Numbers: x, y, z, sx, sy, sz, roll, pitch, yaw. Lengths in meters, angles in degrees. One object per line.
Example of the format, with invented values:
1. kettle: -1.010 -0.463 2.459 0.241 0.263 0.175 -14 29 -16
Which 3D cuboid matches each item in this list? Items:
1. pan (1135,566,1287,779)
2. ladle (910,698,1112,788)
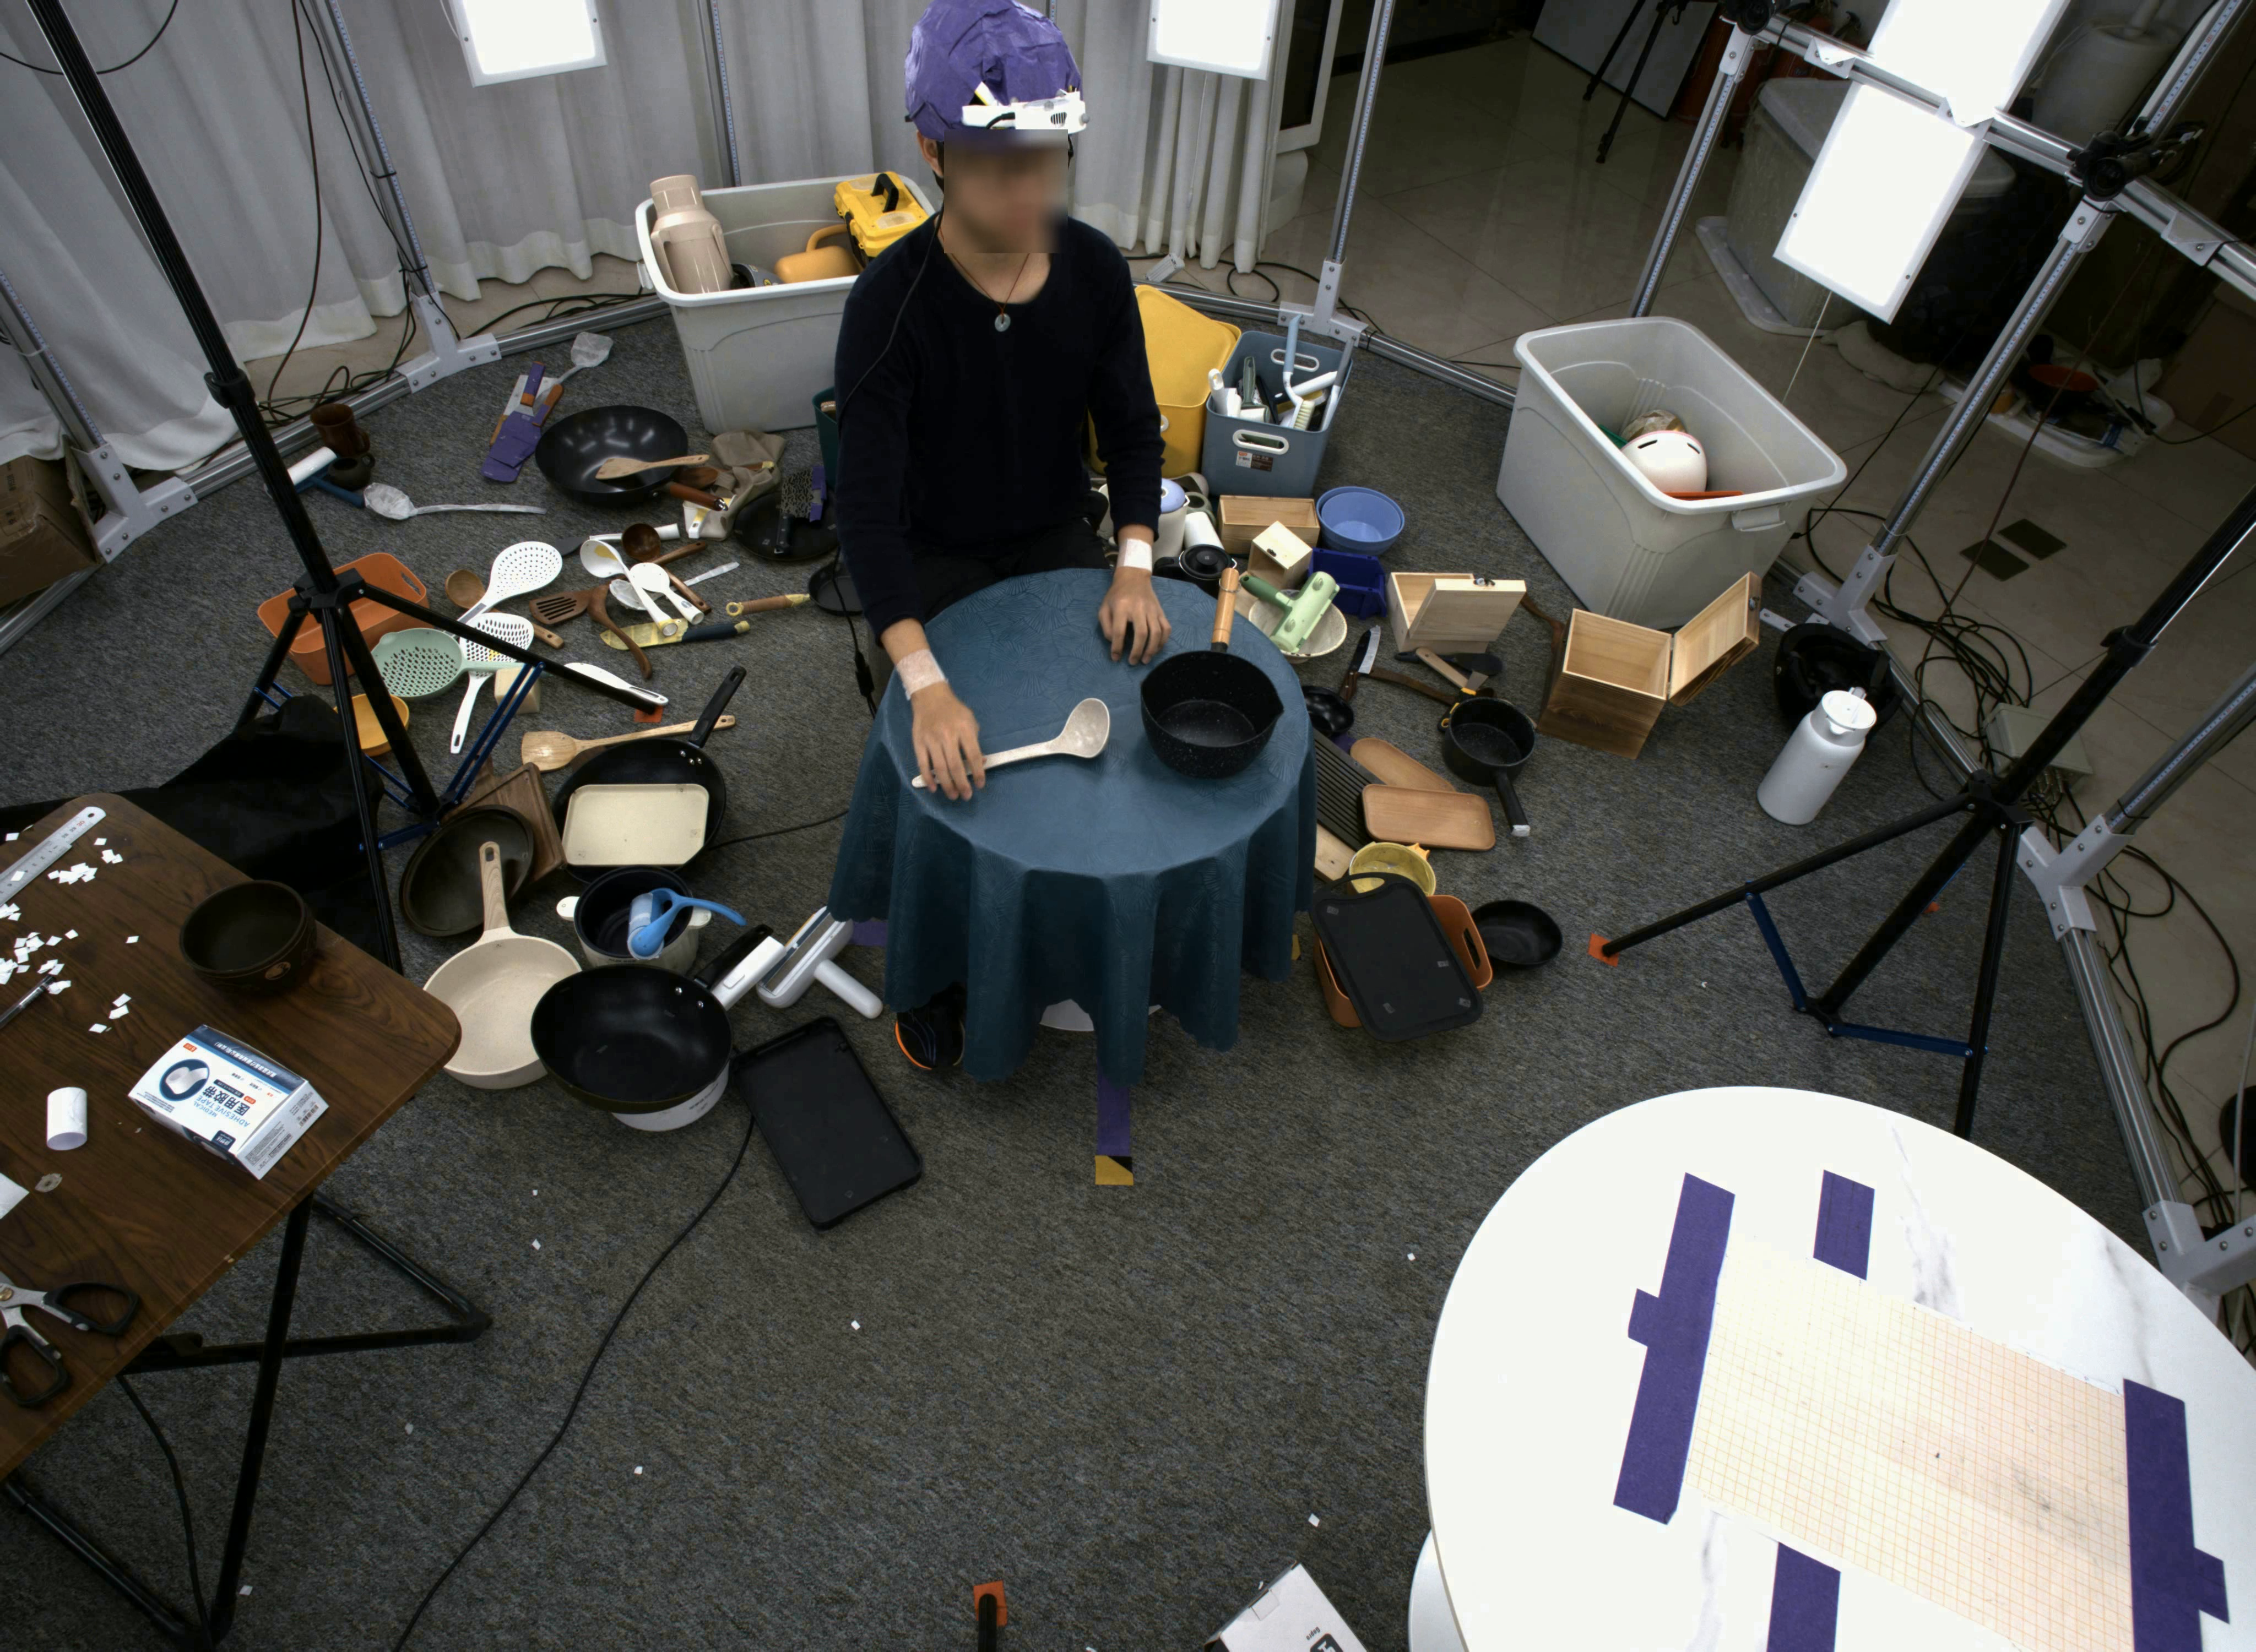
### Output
1. pan: 0.119 -0.215 1.794 0.207 0.105 0.351 7 50 4
2. ladle: -0.154 -0.106 1.705 0.275 0.068 0.091 -14 57 -16
